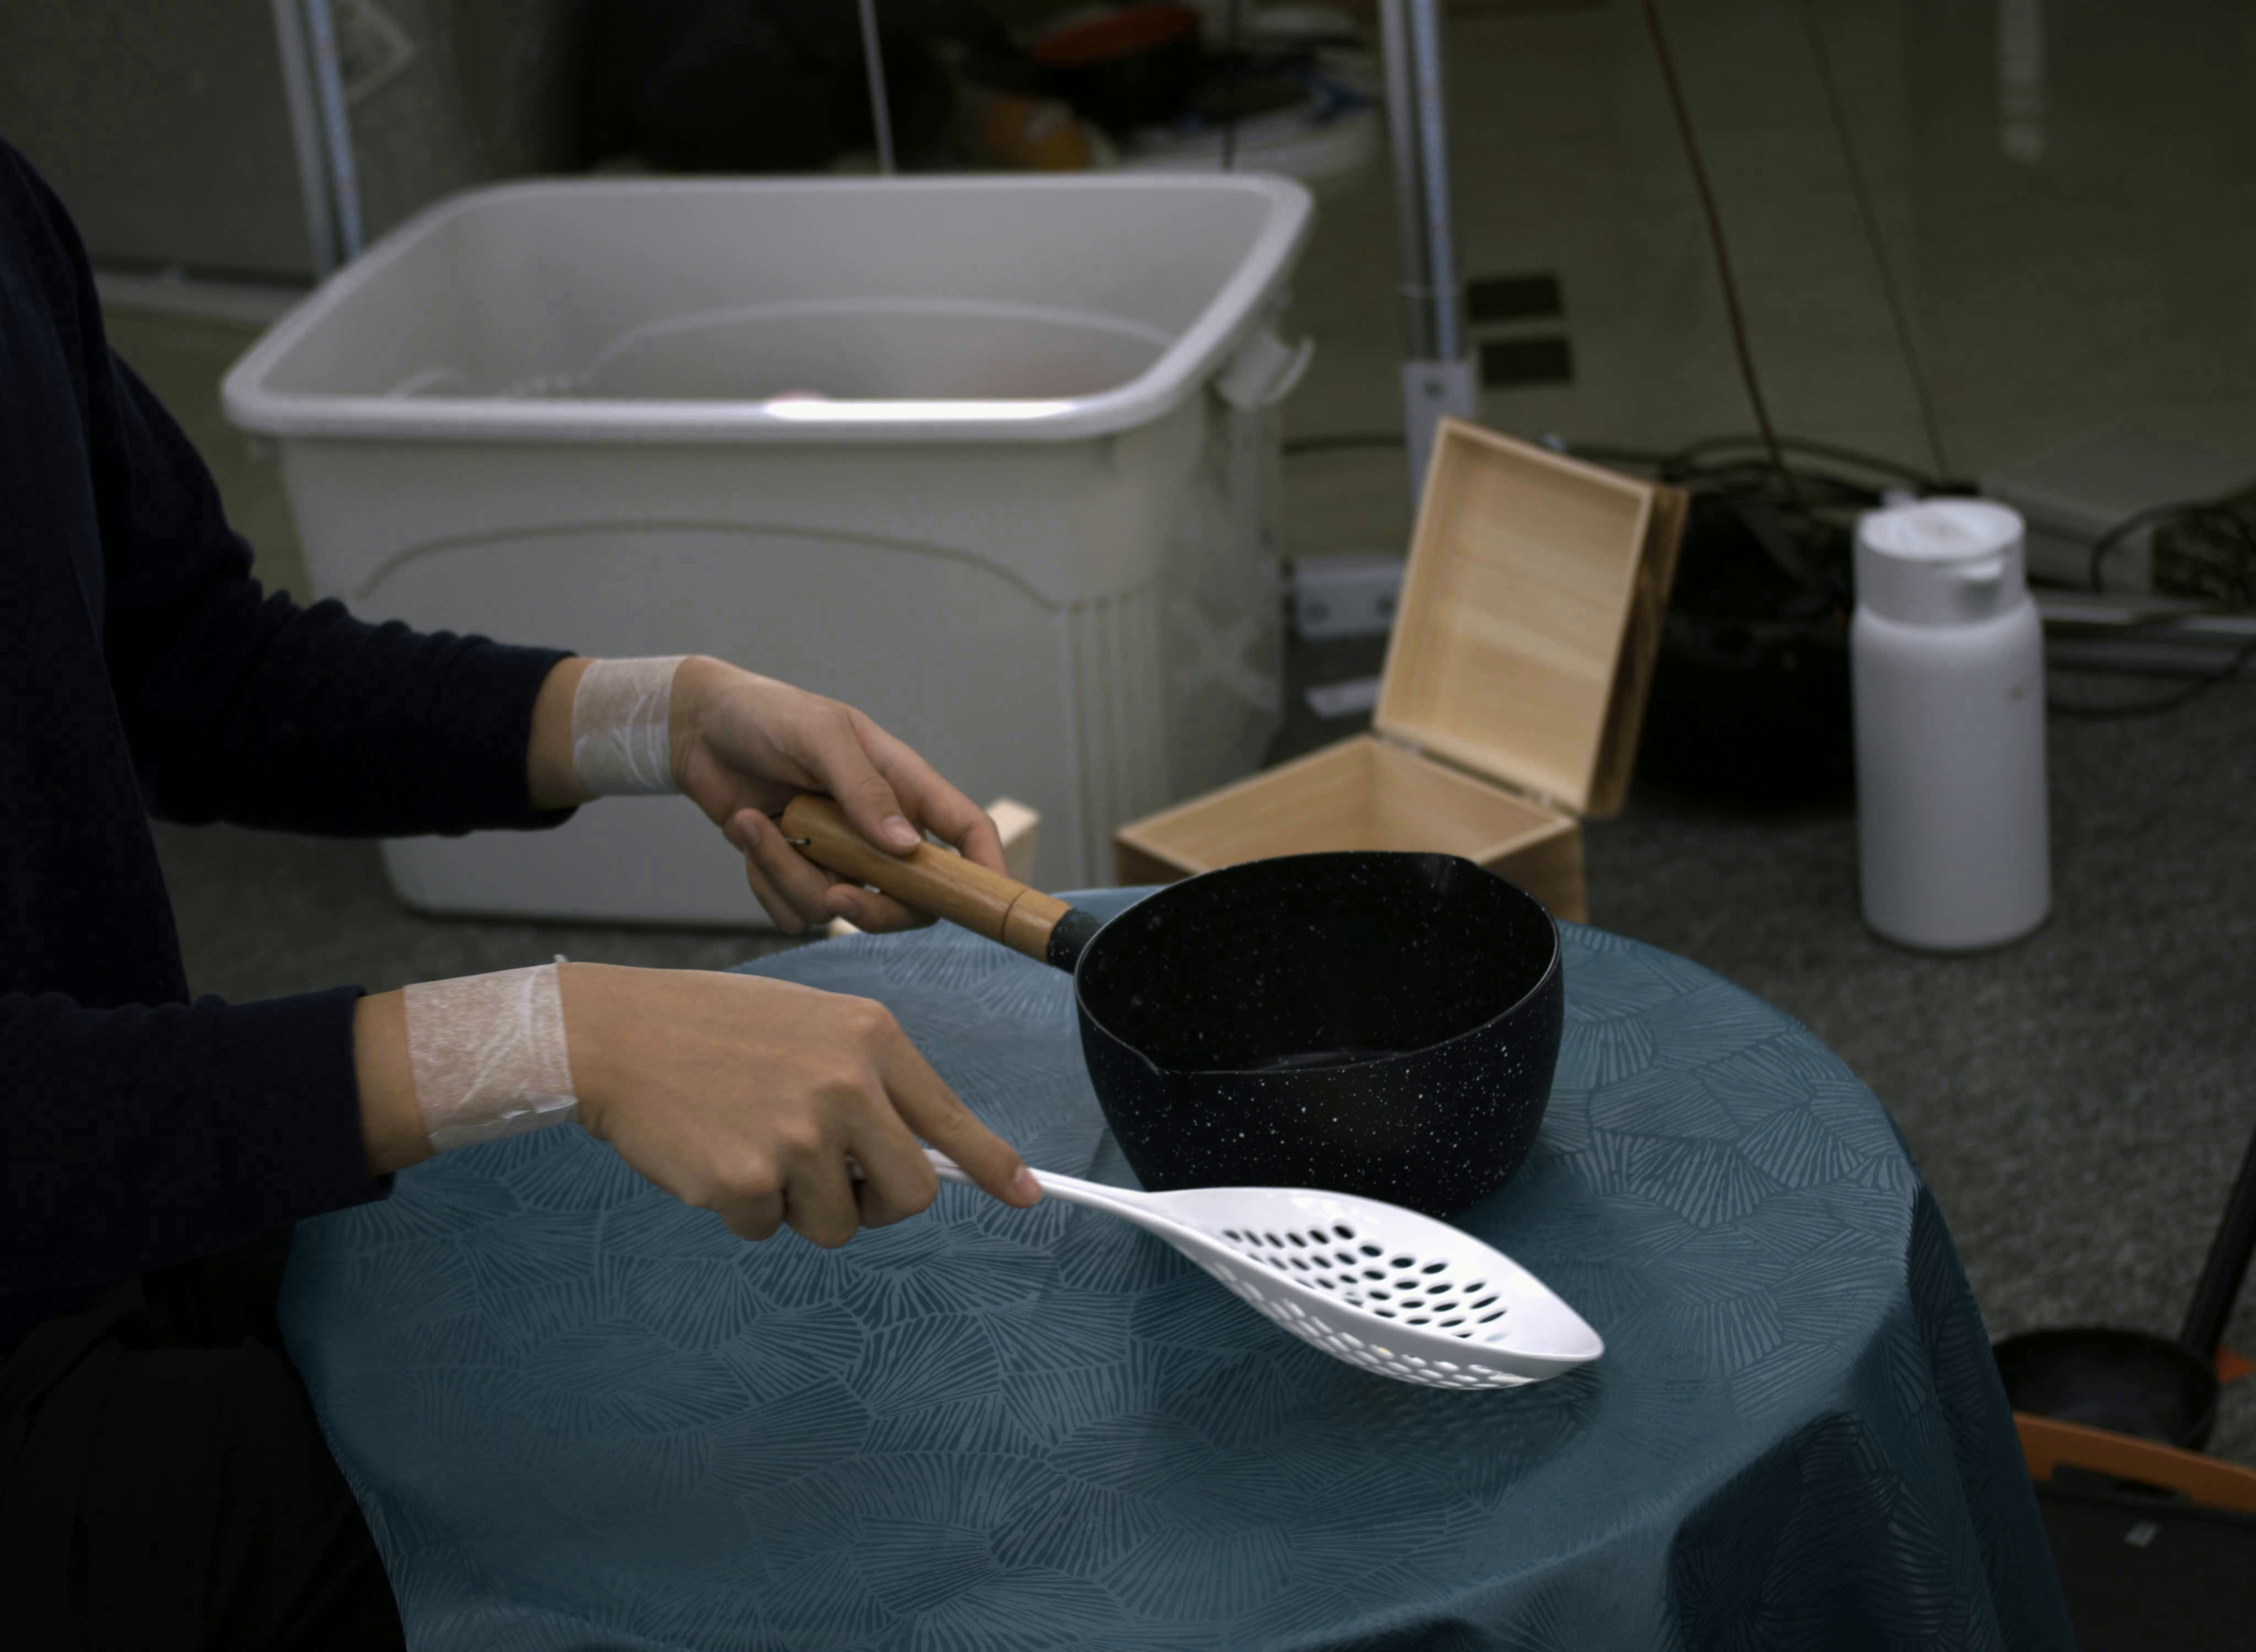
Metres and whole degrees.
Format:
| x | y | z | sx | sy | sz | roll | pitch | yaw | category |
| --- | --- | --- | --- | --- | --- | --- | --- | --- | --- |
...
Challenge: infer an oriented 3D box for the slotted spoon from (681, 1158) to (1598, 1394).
| x | y | z | sx | sy | sz | roll | pitch | yaw | category |
| --- | --- | --- | --- | --- | --- | --- | --- | --- | --- |
| 0.004 | 0.142 | 1.932 | 0.349 | 0.050 | 0.135 | 19 | 11 | -31 | slotted spoon |

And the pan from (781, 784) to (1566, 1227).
| x | y | z | sx | sy | sz | roll | pitch | yaw | category |
| --- | --- | --- | --- | --- | --- | --- | --- | --- | --- |
| 0.008 | 0.064 | 2.177 | 0.341 | 0.110 | 0.205 | 12 | 32 | 32 | pan |
